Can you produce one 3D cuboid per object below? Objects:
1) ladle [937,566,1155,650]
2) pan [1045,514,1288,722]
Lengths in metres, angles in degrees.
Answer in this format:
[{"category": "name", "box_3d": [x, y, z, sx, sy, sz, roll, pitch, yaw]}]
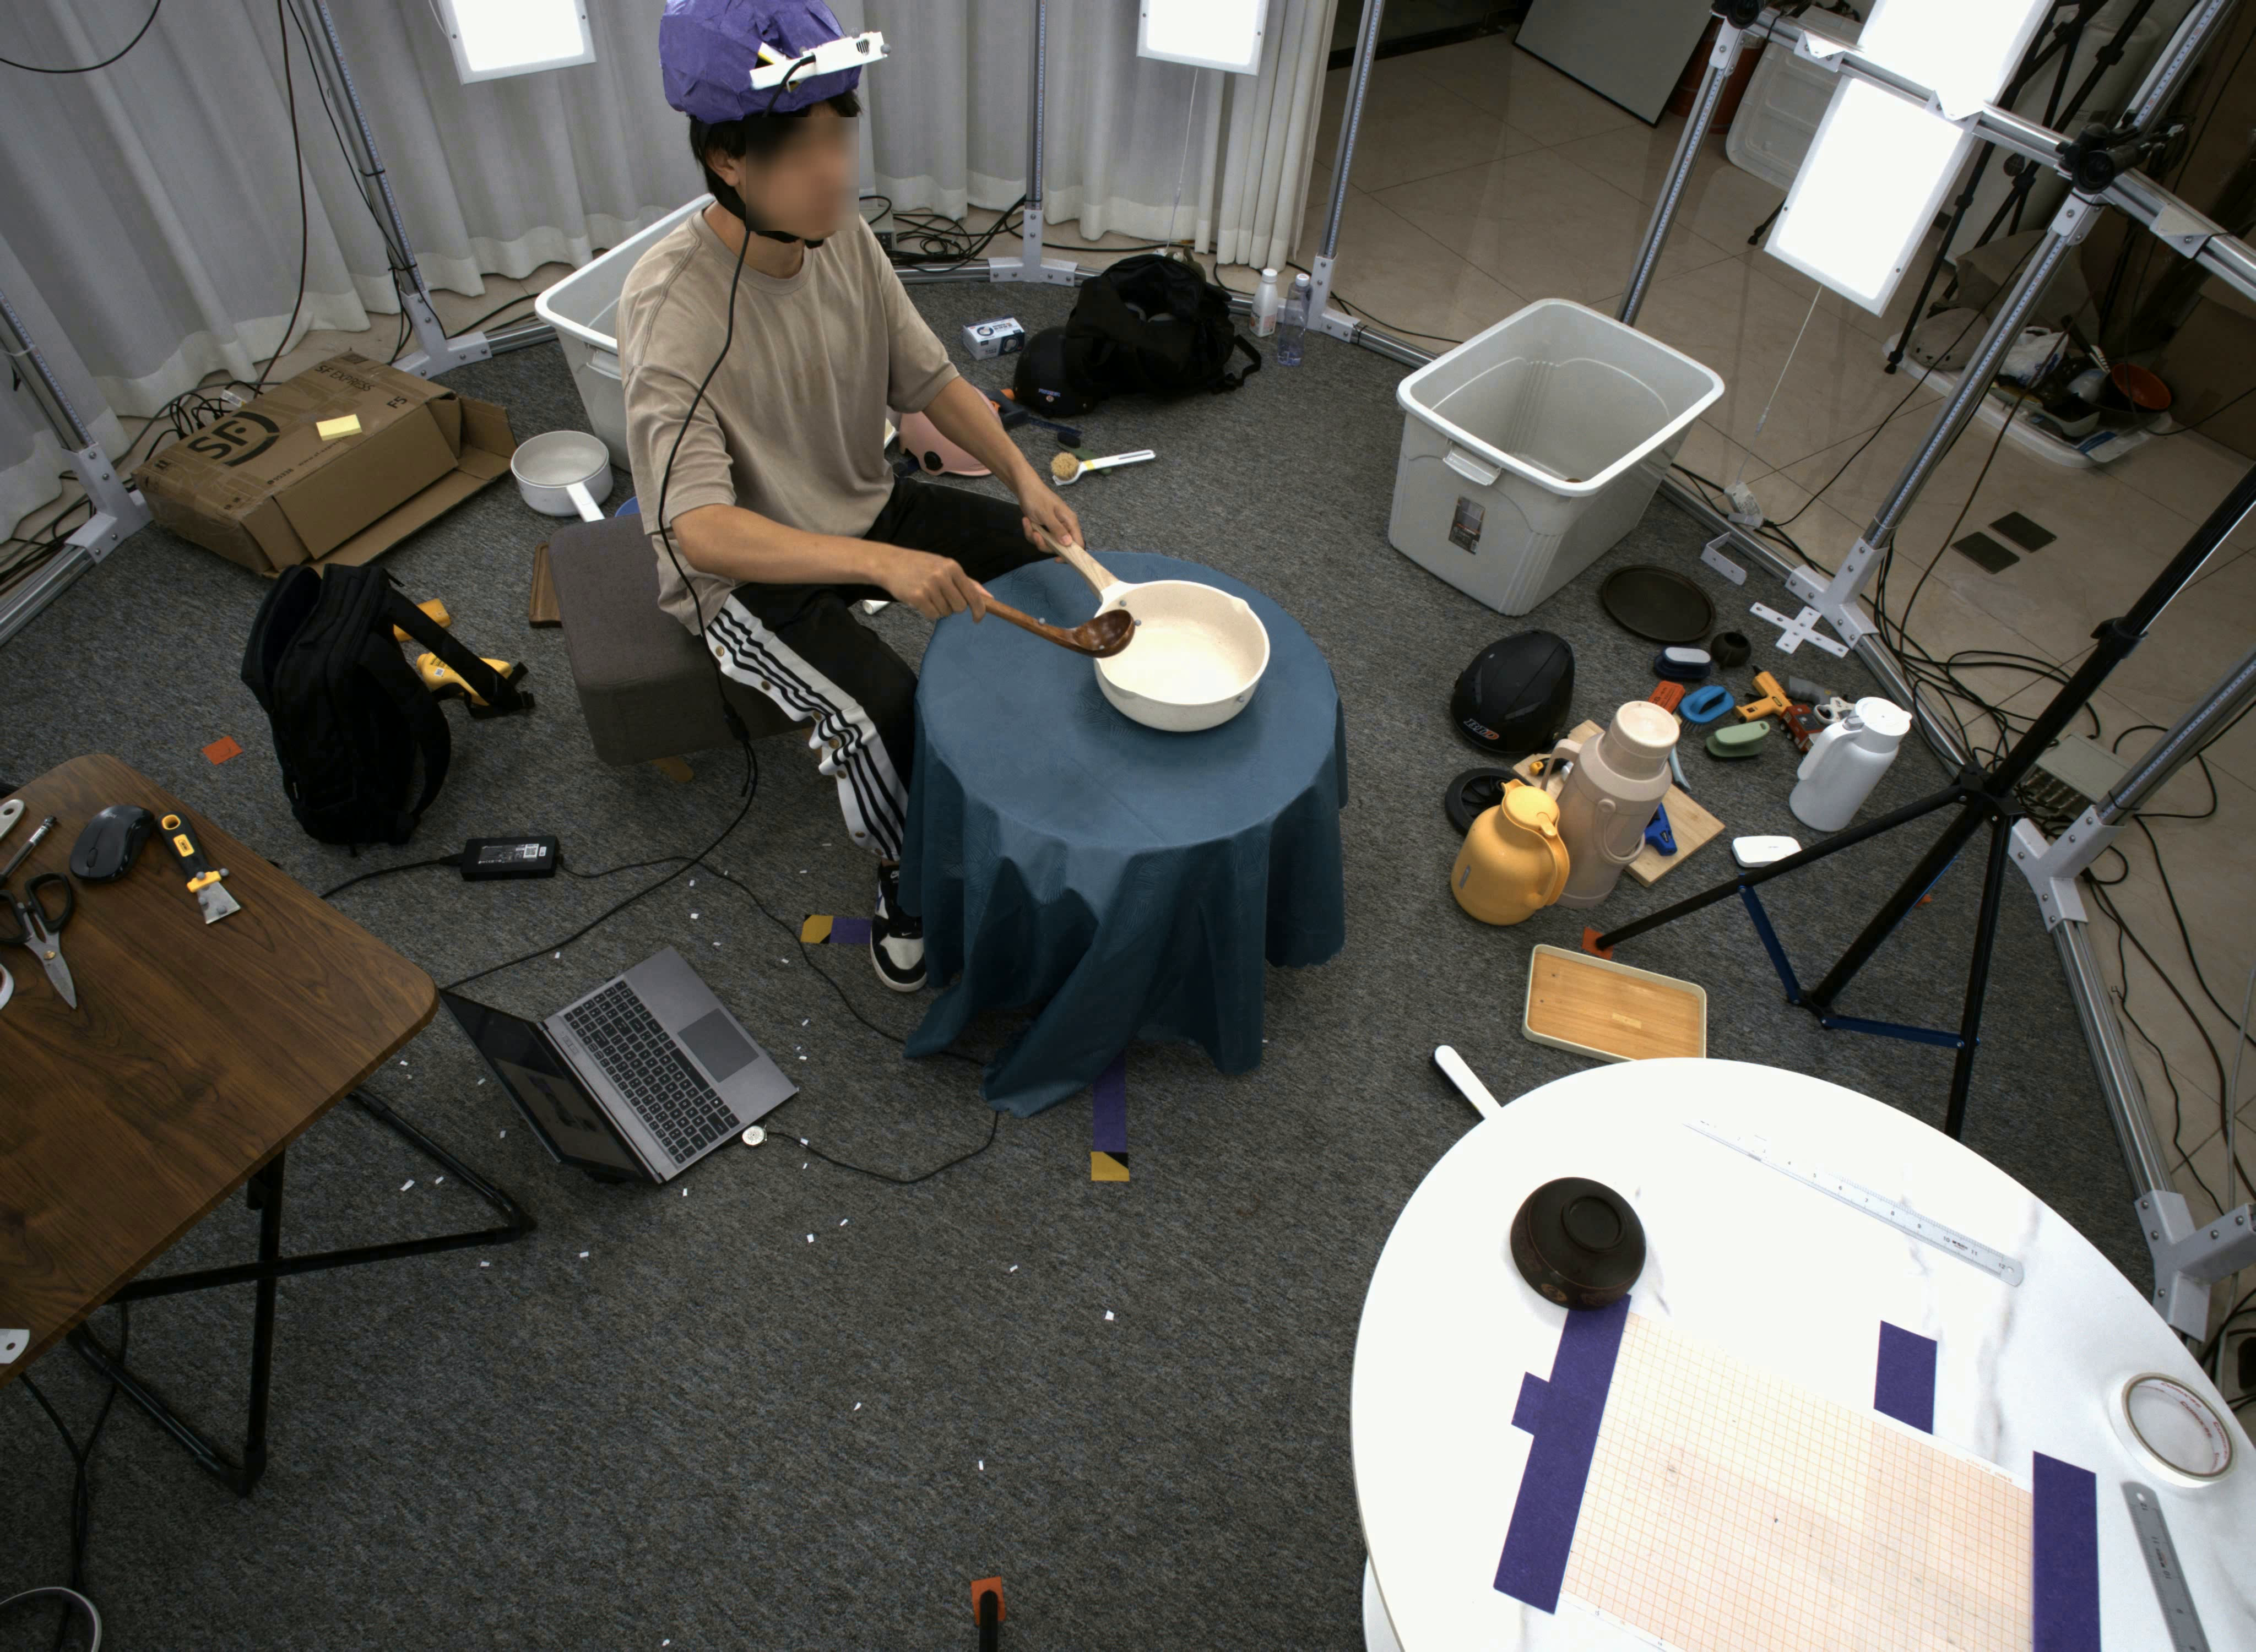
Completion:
[{"category": "ladle", "box_3d": [-0.096, -0.289, 1.603, 0.272, 0.075, 0.084, 20, 28, -19]}, {"category": "pan", "box_3d": [0.033, -0.307, 1.860, 0.265, 0.099, 0.441, -35, 60, -29]}]
